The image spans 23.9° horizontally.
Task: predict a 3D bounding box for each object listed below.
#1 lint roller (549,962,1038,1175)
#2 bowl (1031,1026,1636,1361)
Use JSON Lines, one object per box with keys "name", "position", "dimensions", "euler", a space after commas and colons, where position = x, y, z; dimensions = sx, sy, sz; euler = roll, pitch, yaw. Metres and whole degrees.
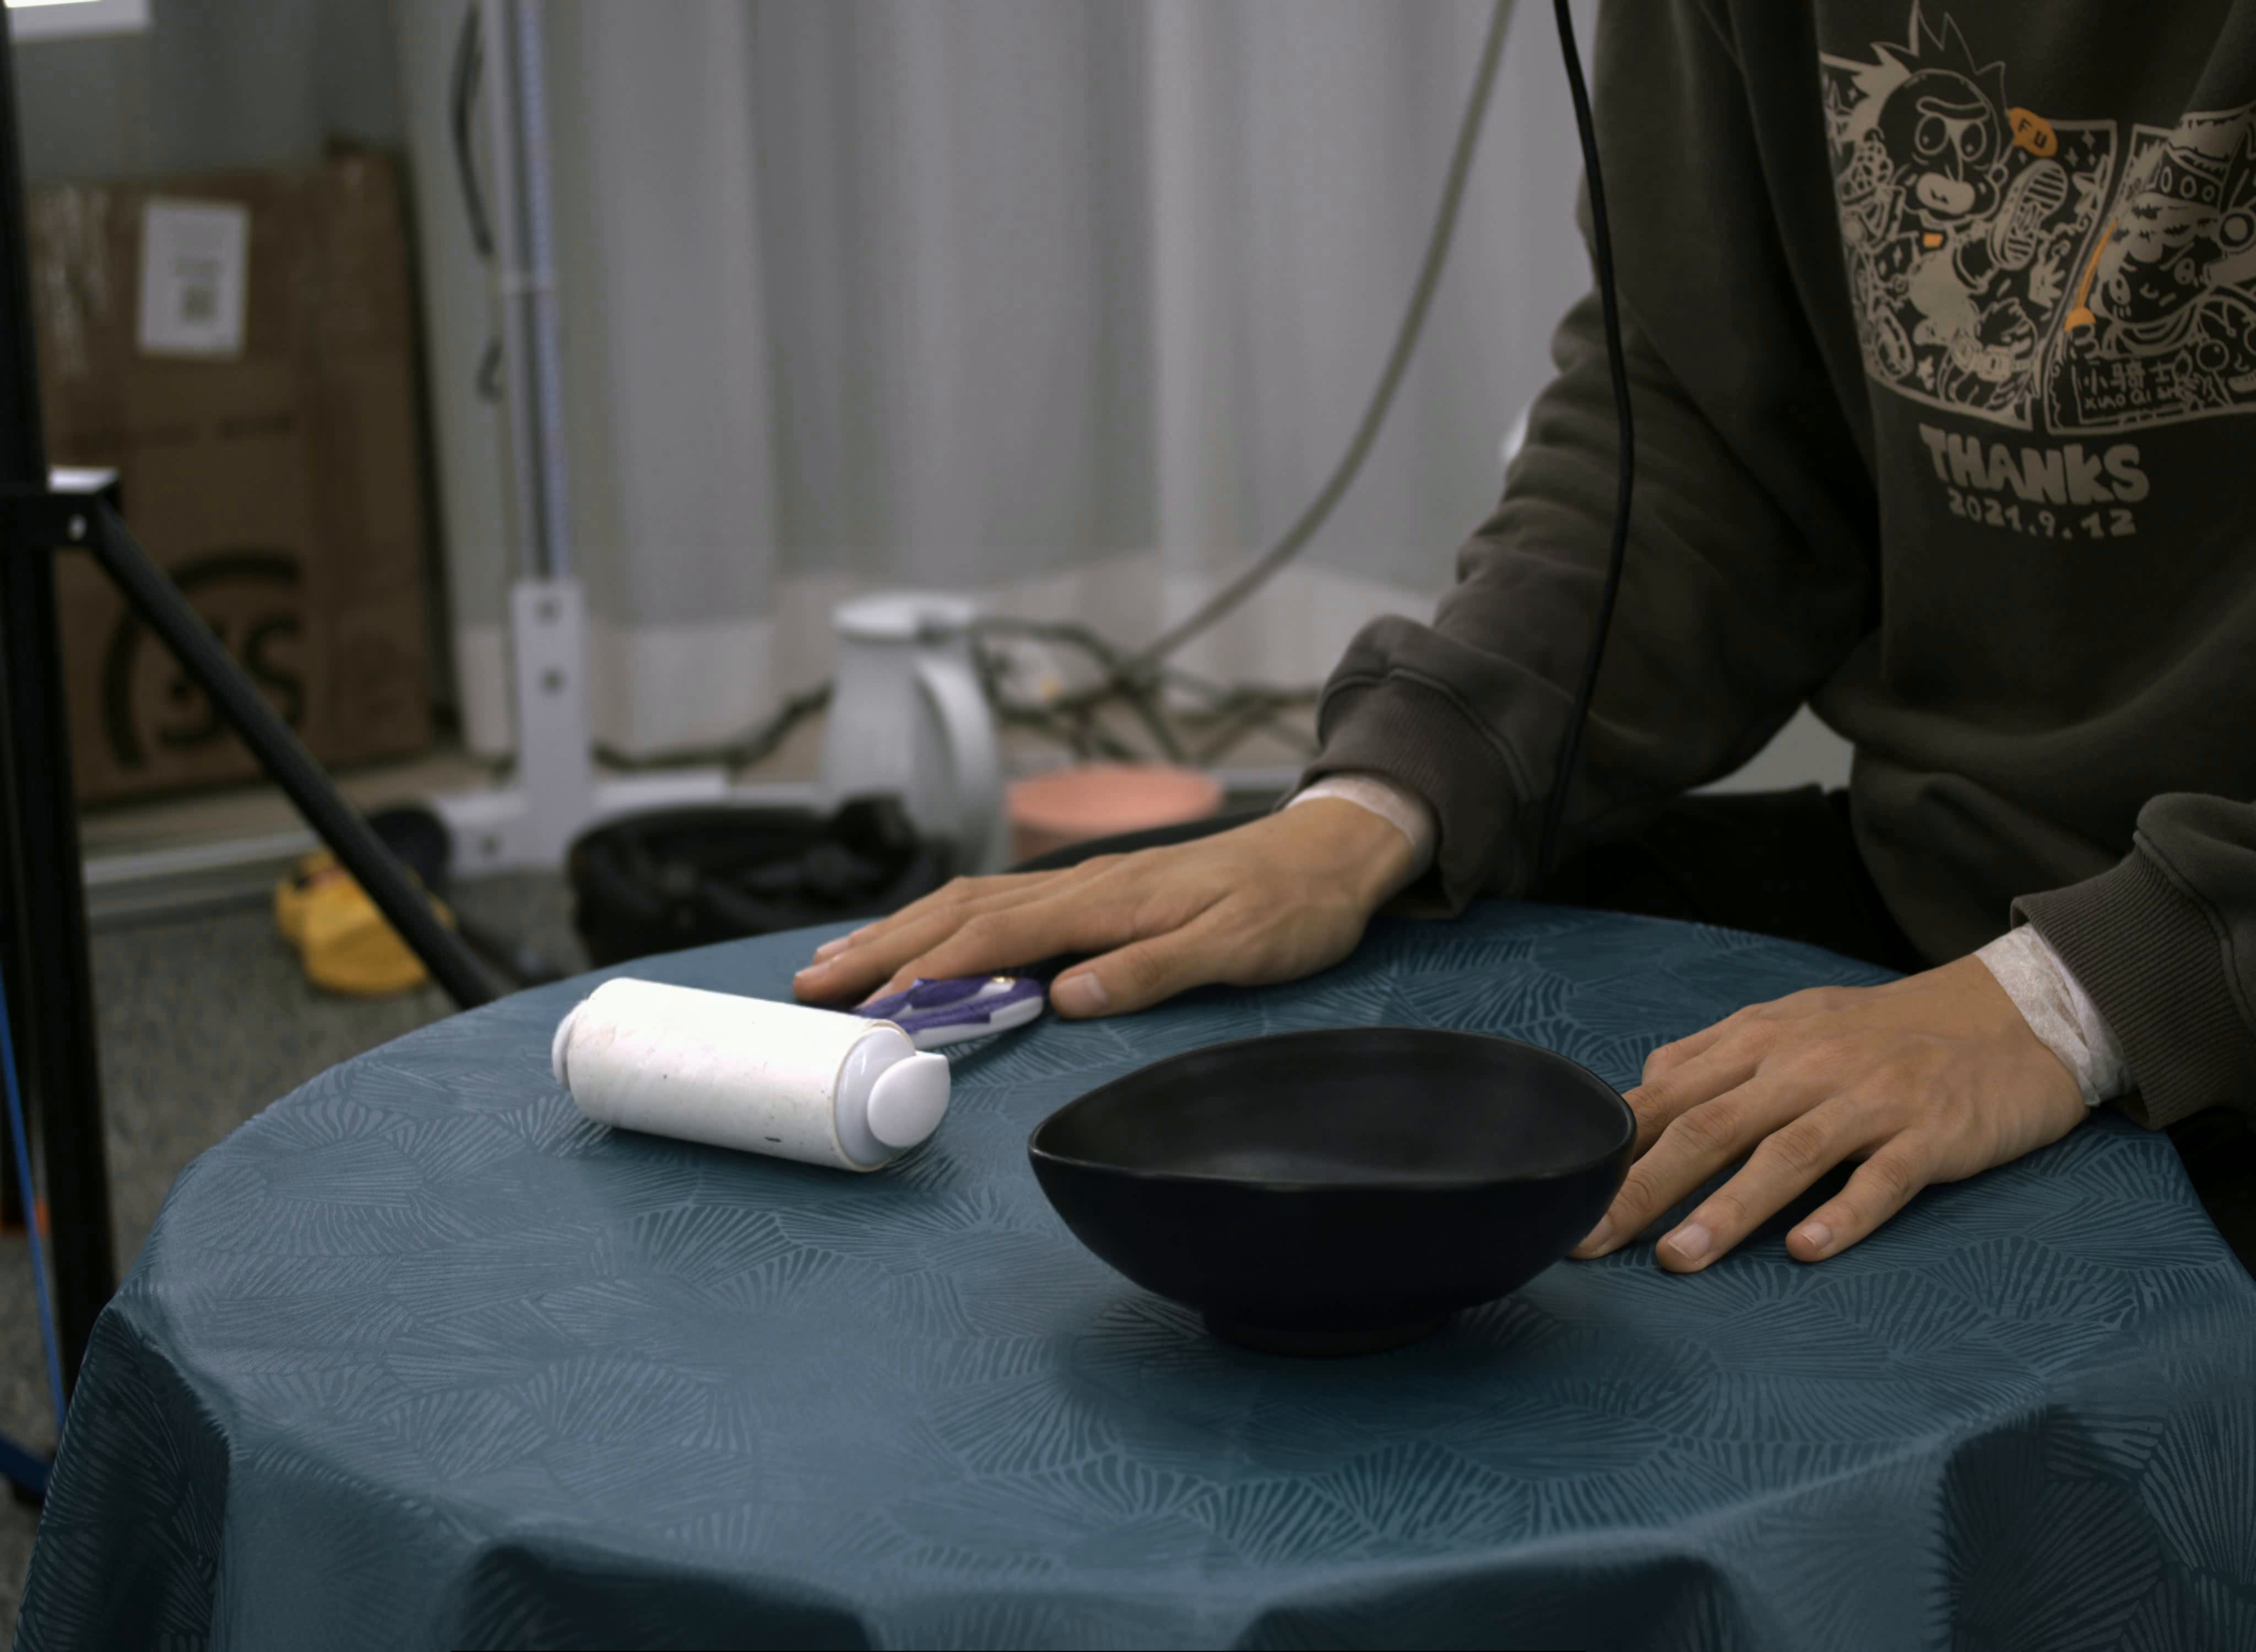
{"name": "lint roller", "position": [-0.081, 0.057, 1.666], "dimensions": [0.135, 0.050, 0.177], "euler": [8, 22, 35]}
{"name": "bowl", "position": [0.055, 0.105, 1.447], "dimensions": [0.172, 0.067, 0.136], "euler": [1, 15, 19]}
